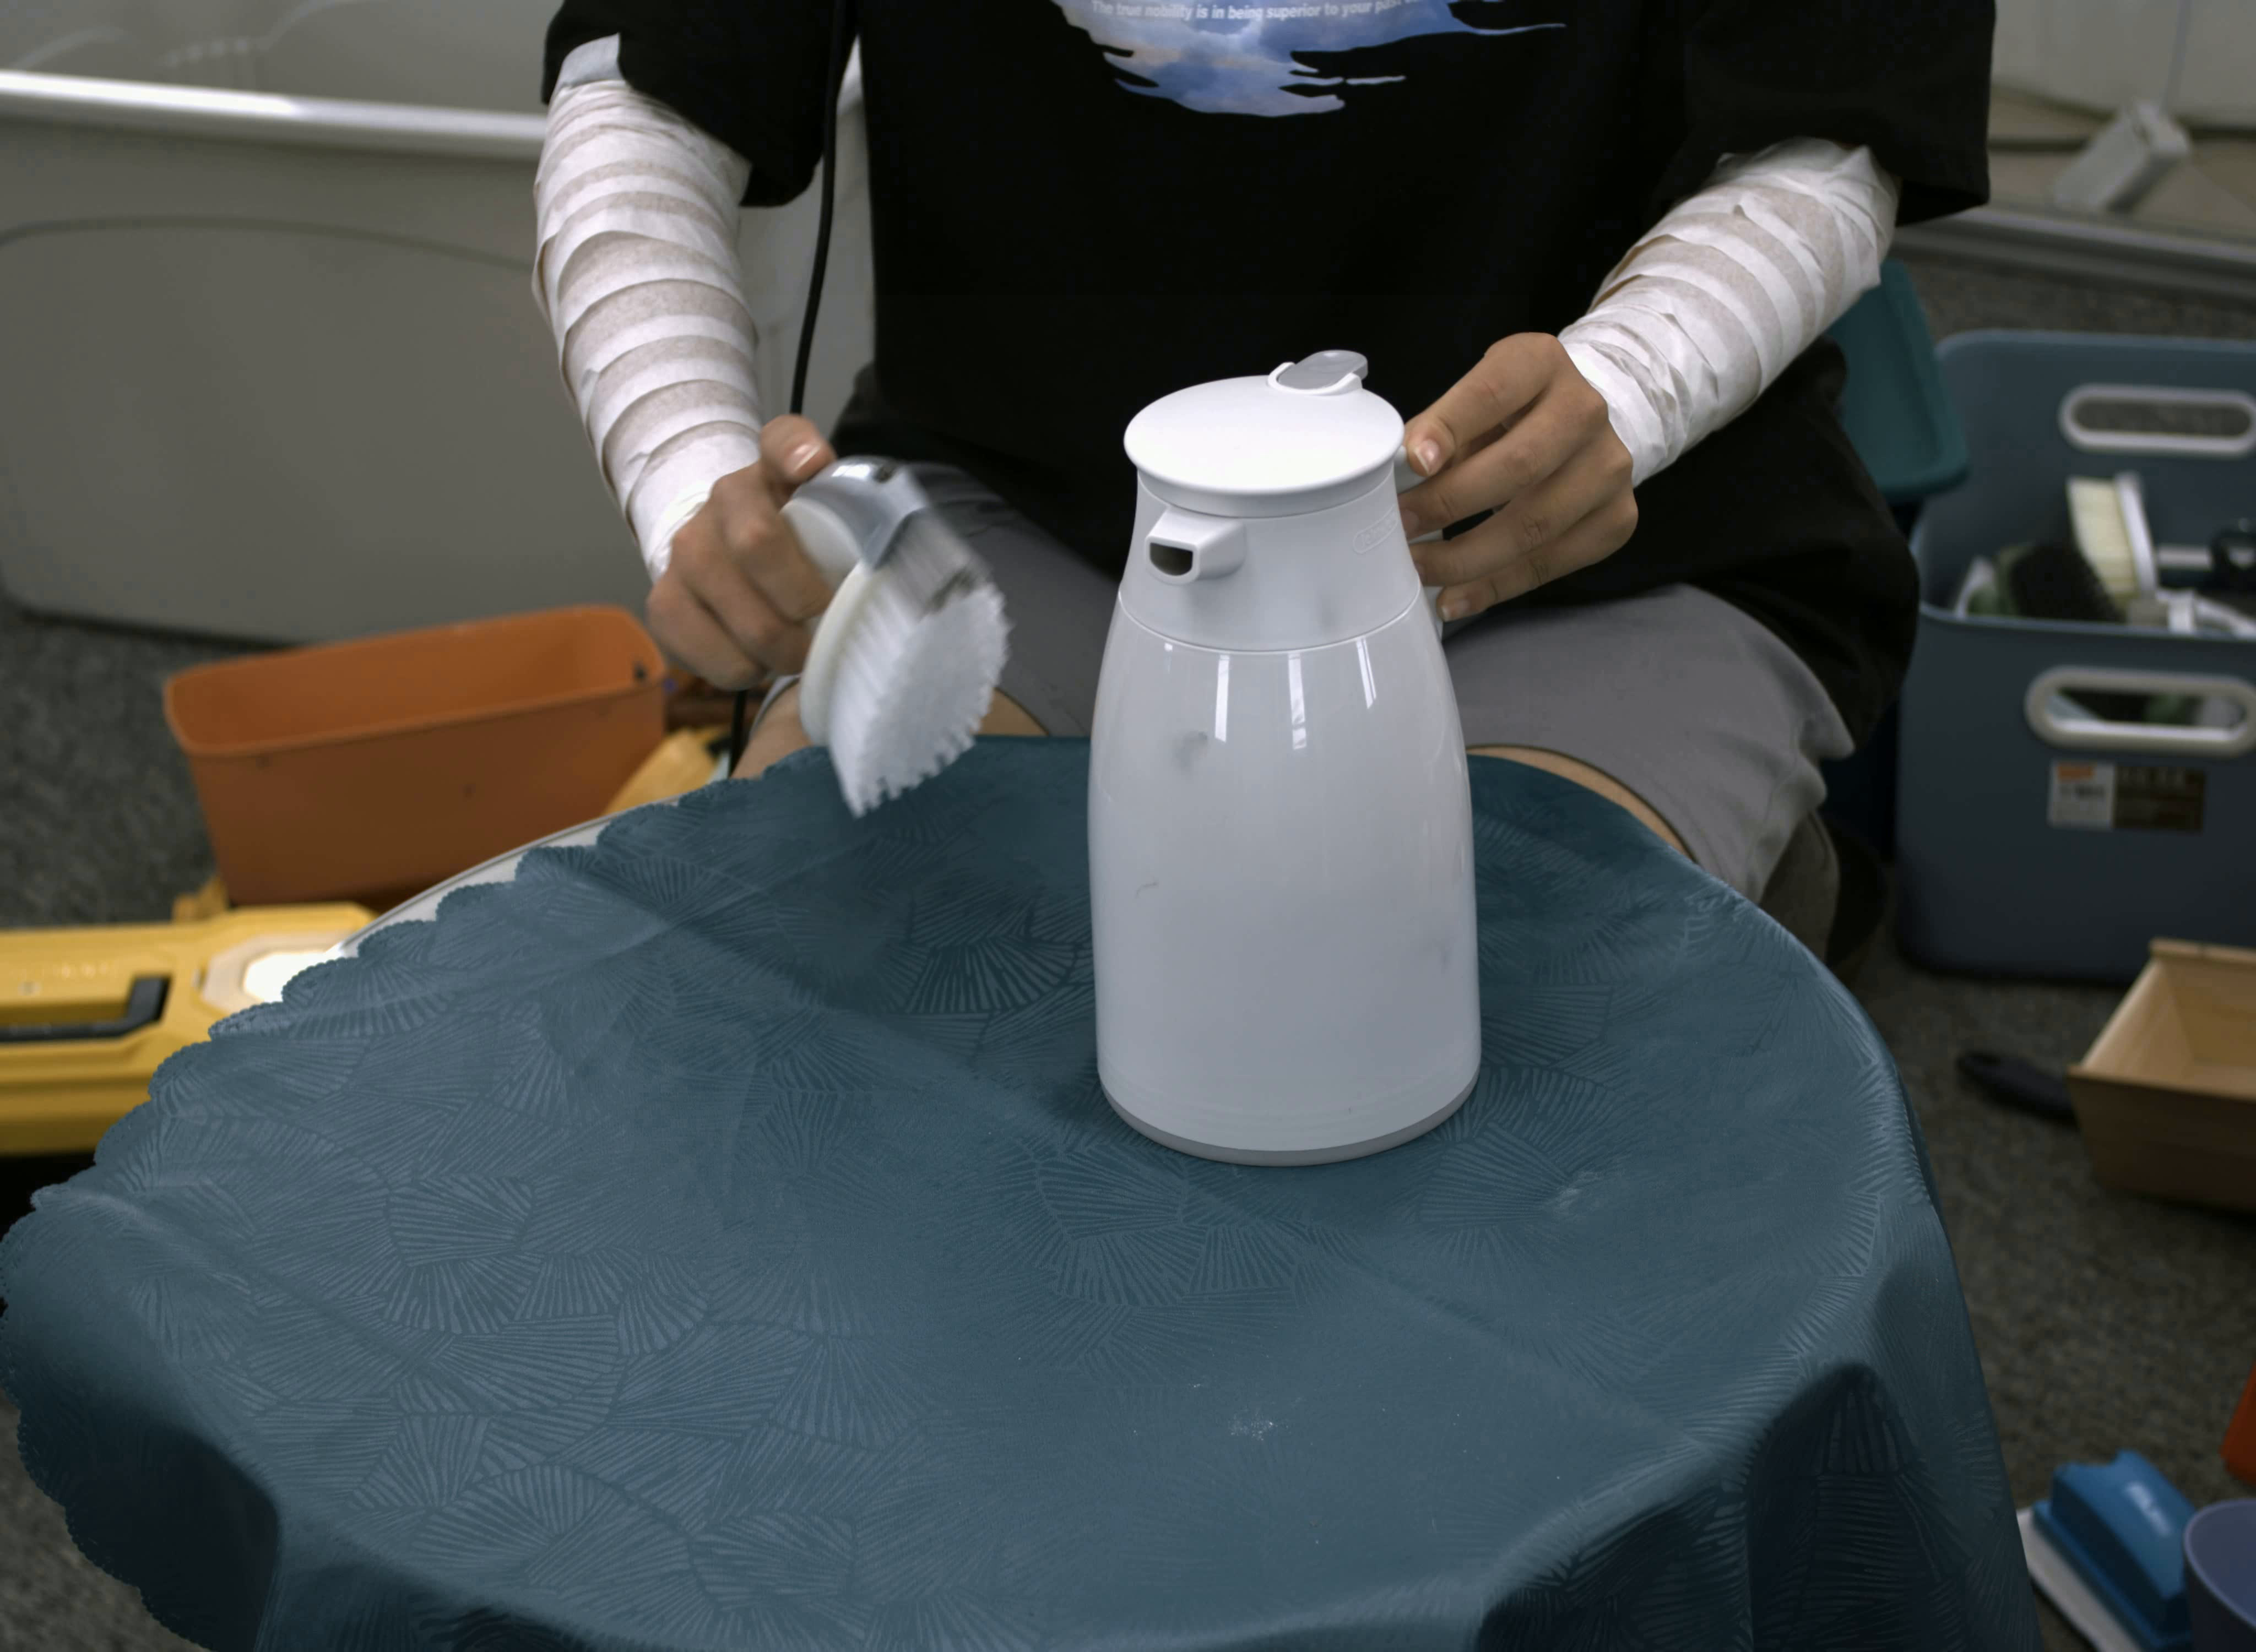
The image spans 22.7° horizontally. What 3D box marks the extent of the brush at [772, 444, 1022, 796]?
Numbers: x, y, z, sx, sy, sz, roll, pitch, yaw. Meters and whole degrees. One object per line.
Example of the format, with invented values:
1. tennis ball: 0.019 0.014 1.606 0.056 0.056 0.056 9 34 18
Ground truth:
1. brush: -0.082 -0.087 1.923 0.062 0.173 0.095 -34 76 -20

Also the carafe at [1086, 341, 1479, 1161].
1. carafe: 0.058 -0.036 1.893 0.132 0.246 0.170 11 29 27
